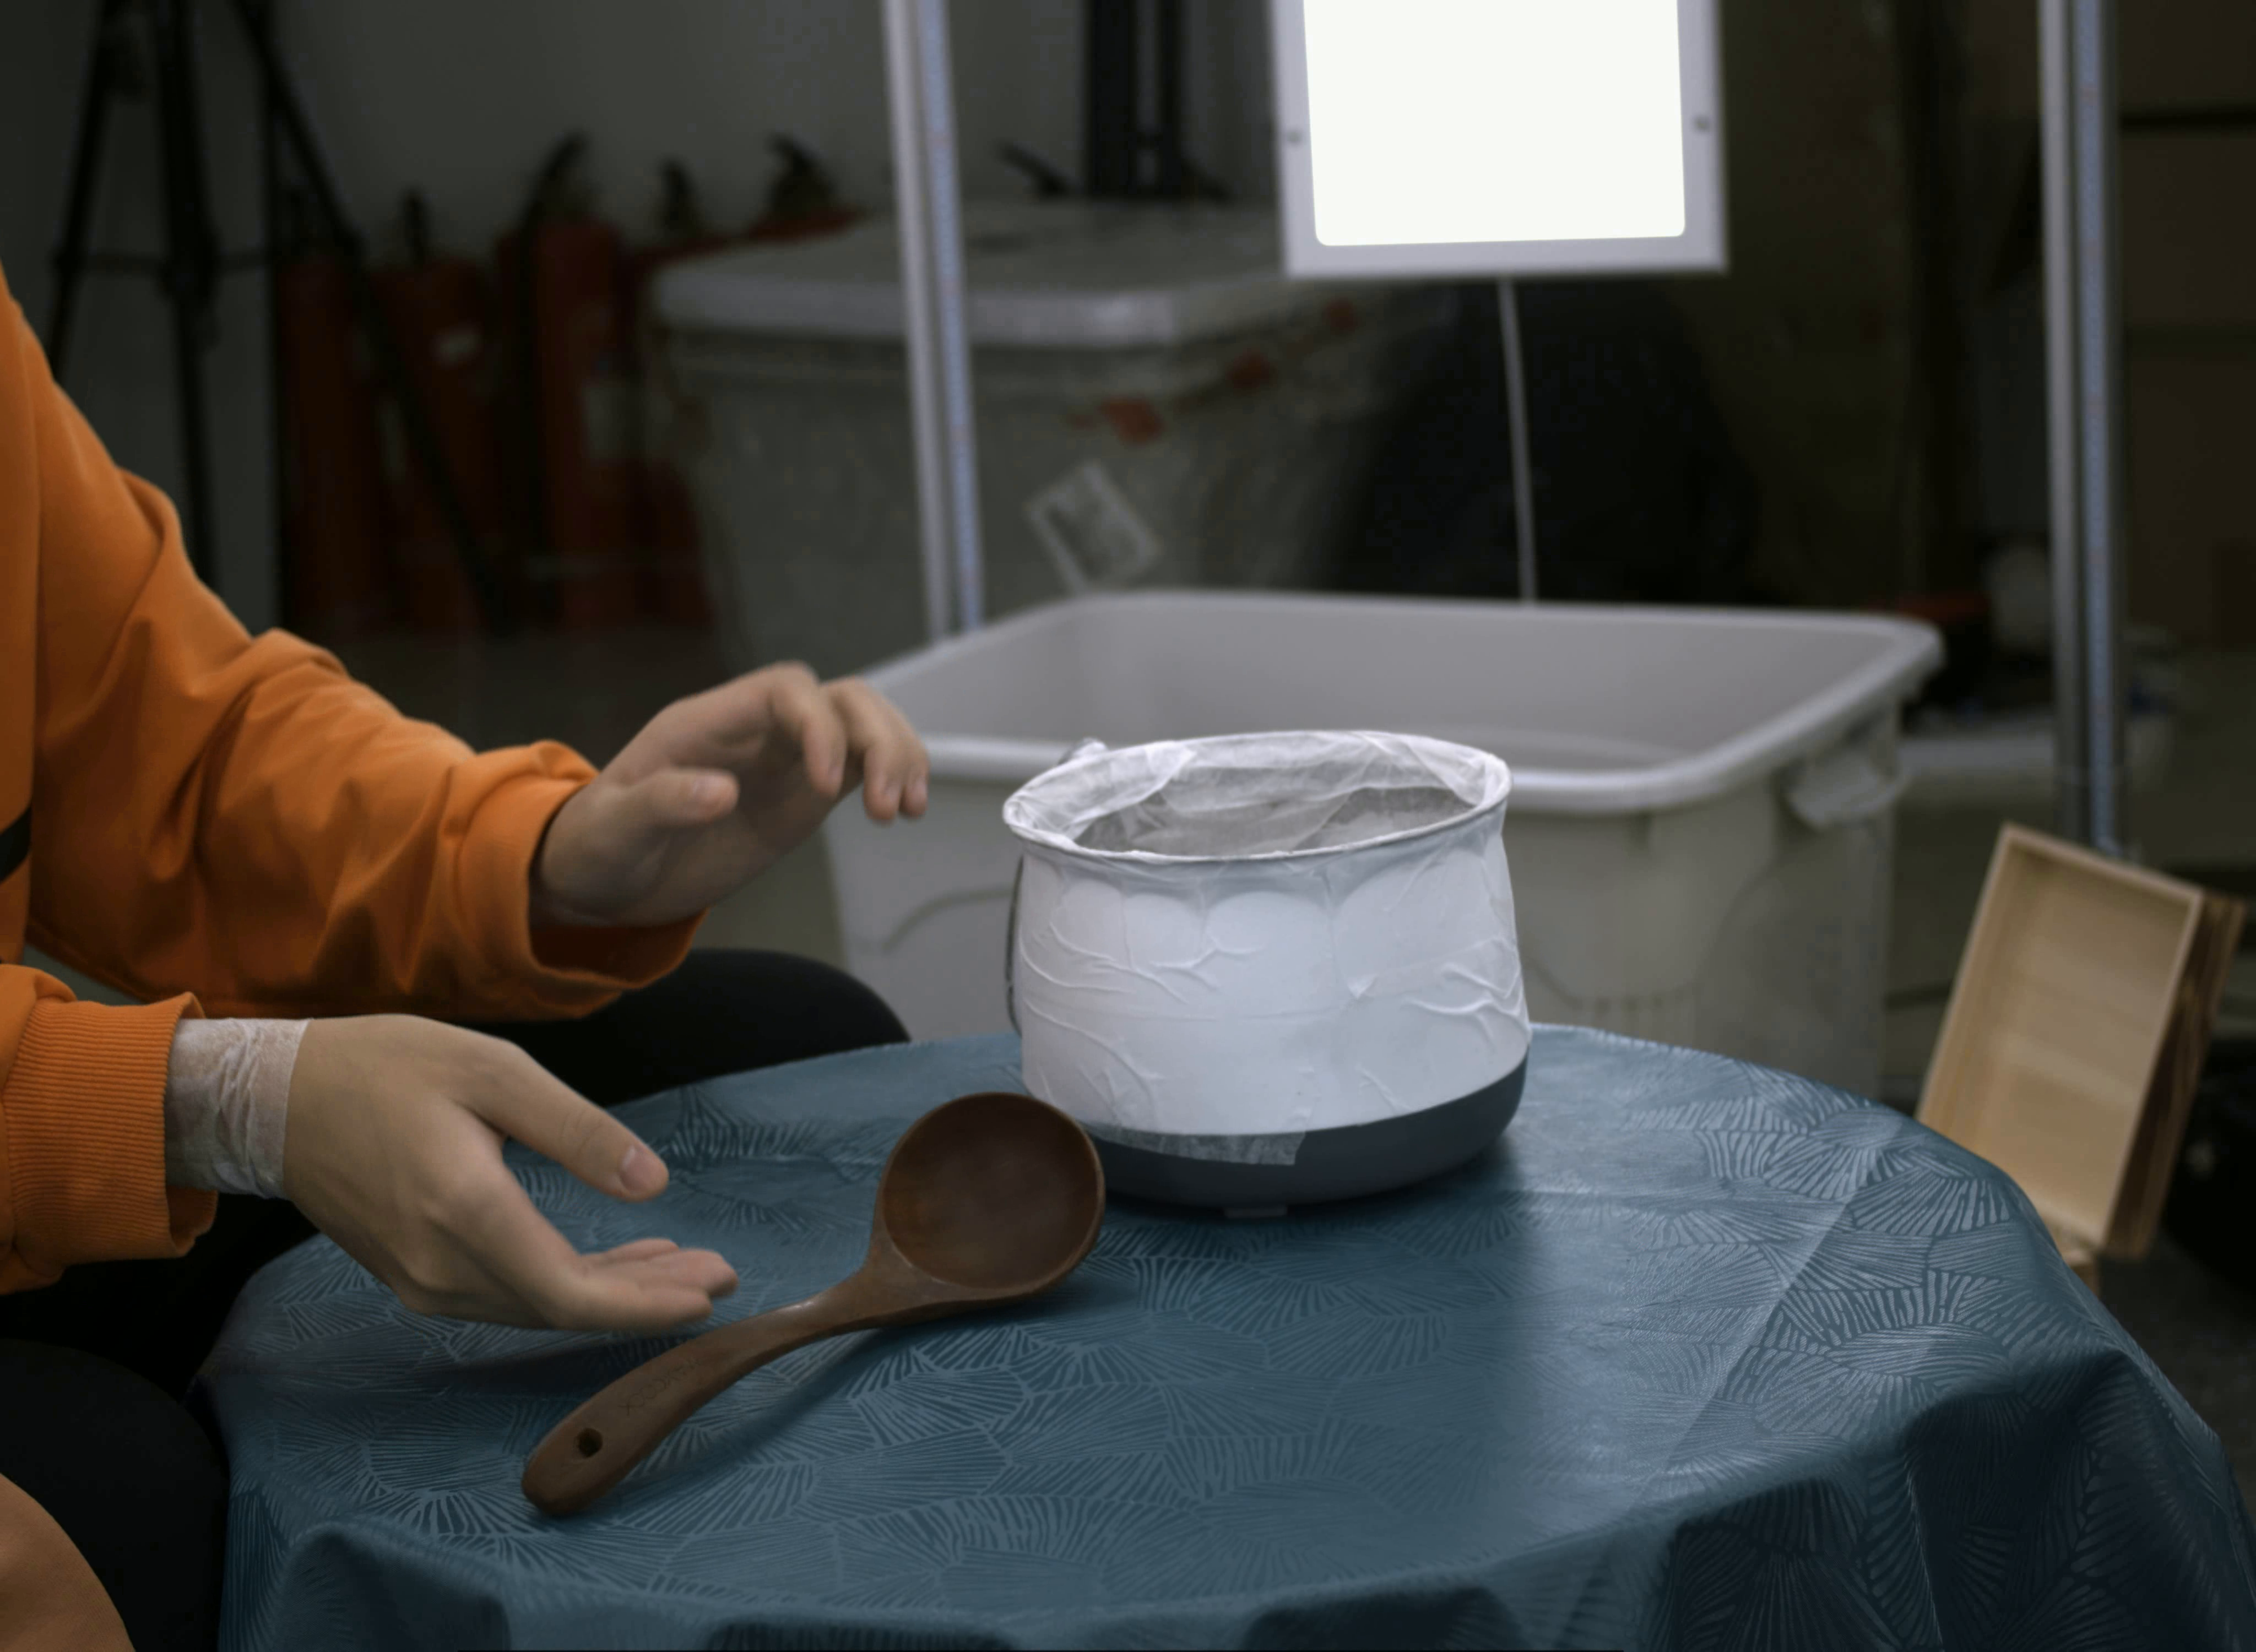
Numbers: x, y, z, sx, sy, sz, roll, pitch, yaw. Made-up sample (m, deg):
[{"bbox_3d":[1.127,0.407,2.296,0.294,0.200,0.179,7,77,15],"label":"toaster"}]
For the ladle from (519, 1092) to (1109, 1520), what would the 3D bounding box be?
[{"bbox_3d":[-0.097,0.147,1.721,0.077,0.066,0.254,31,30,24],"label":"ladle"}]

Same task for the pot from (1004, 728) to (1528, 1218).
[{"bbox_3d":[0.032,0.045,1.927,0.174,0.137,0.238,-14,17,-35],"label":"pot"}]
